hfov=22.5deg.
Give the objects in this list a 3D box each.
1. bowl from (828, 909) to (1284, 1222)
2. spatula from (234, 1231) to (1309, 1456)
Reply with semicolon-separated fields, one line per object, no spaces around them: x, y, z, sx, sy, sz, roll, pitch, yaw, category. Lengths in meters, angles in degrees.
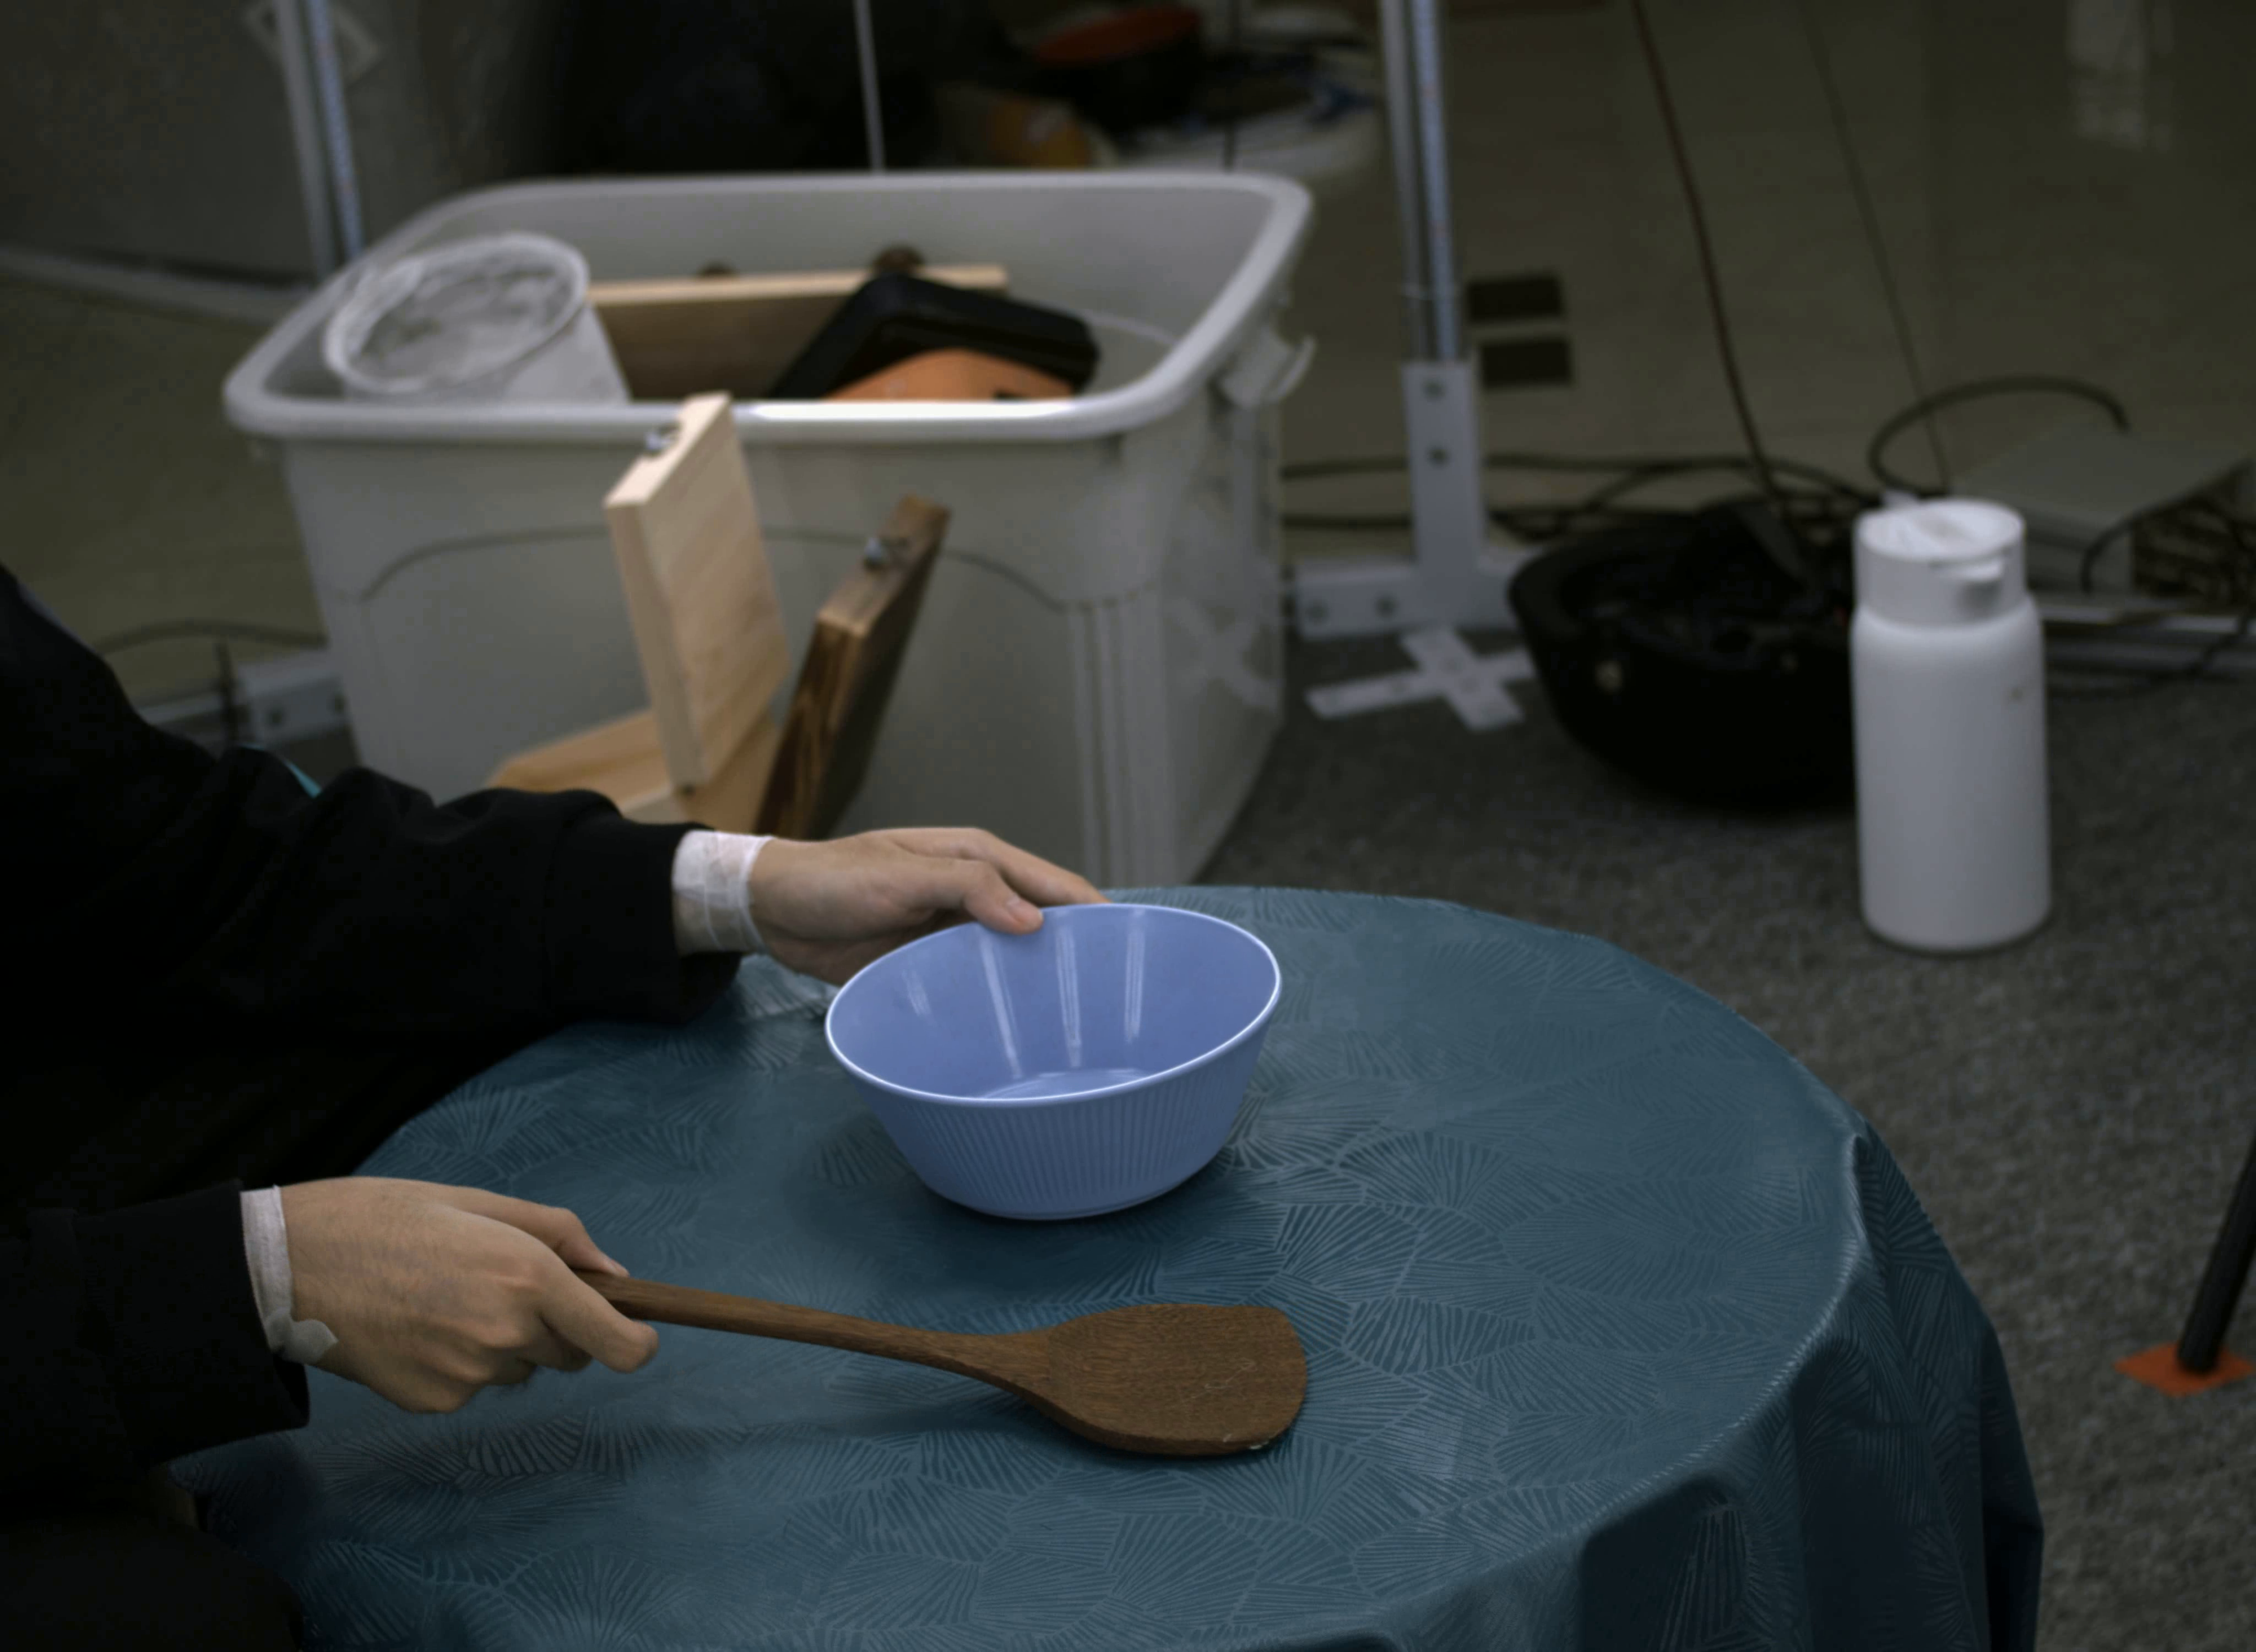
-0.023;0.096;2.163;0.176;0.071;0.173;-7;22;3;bowl
-0.127;0.177;2.013;0.385;0.016;0.094;8;27;2;spatula
